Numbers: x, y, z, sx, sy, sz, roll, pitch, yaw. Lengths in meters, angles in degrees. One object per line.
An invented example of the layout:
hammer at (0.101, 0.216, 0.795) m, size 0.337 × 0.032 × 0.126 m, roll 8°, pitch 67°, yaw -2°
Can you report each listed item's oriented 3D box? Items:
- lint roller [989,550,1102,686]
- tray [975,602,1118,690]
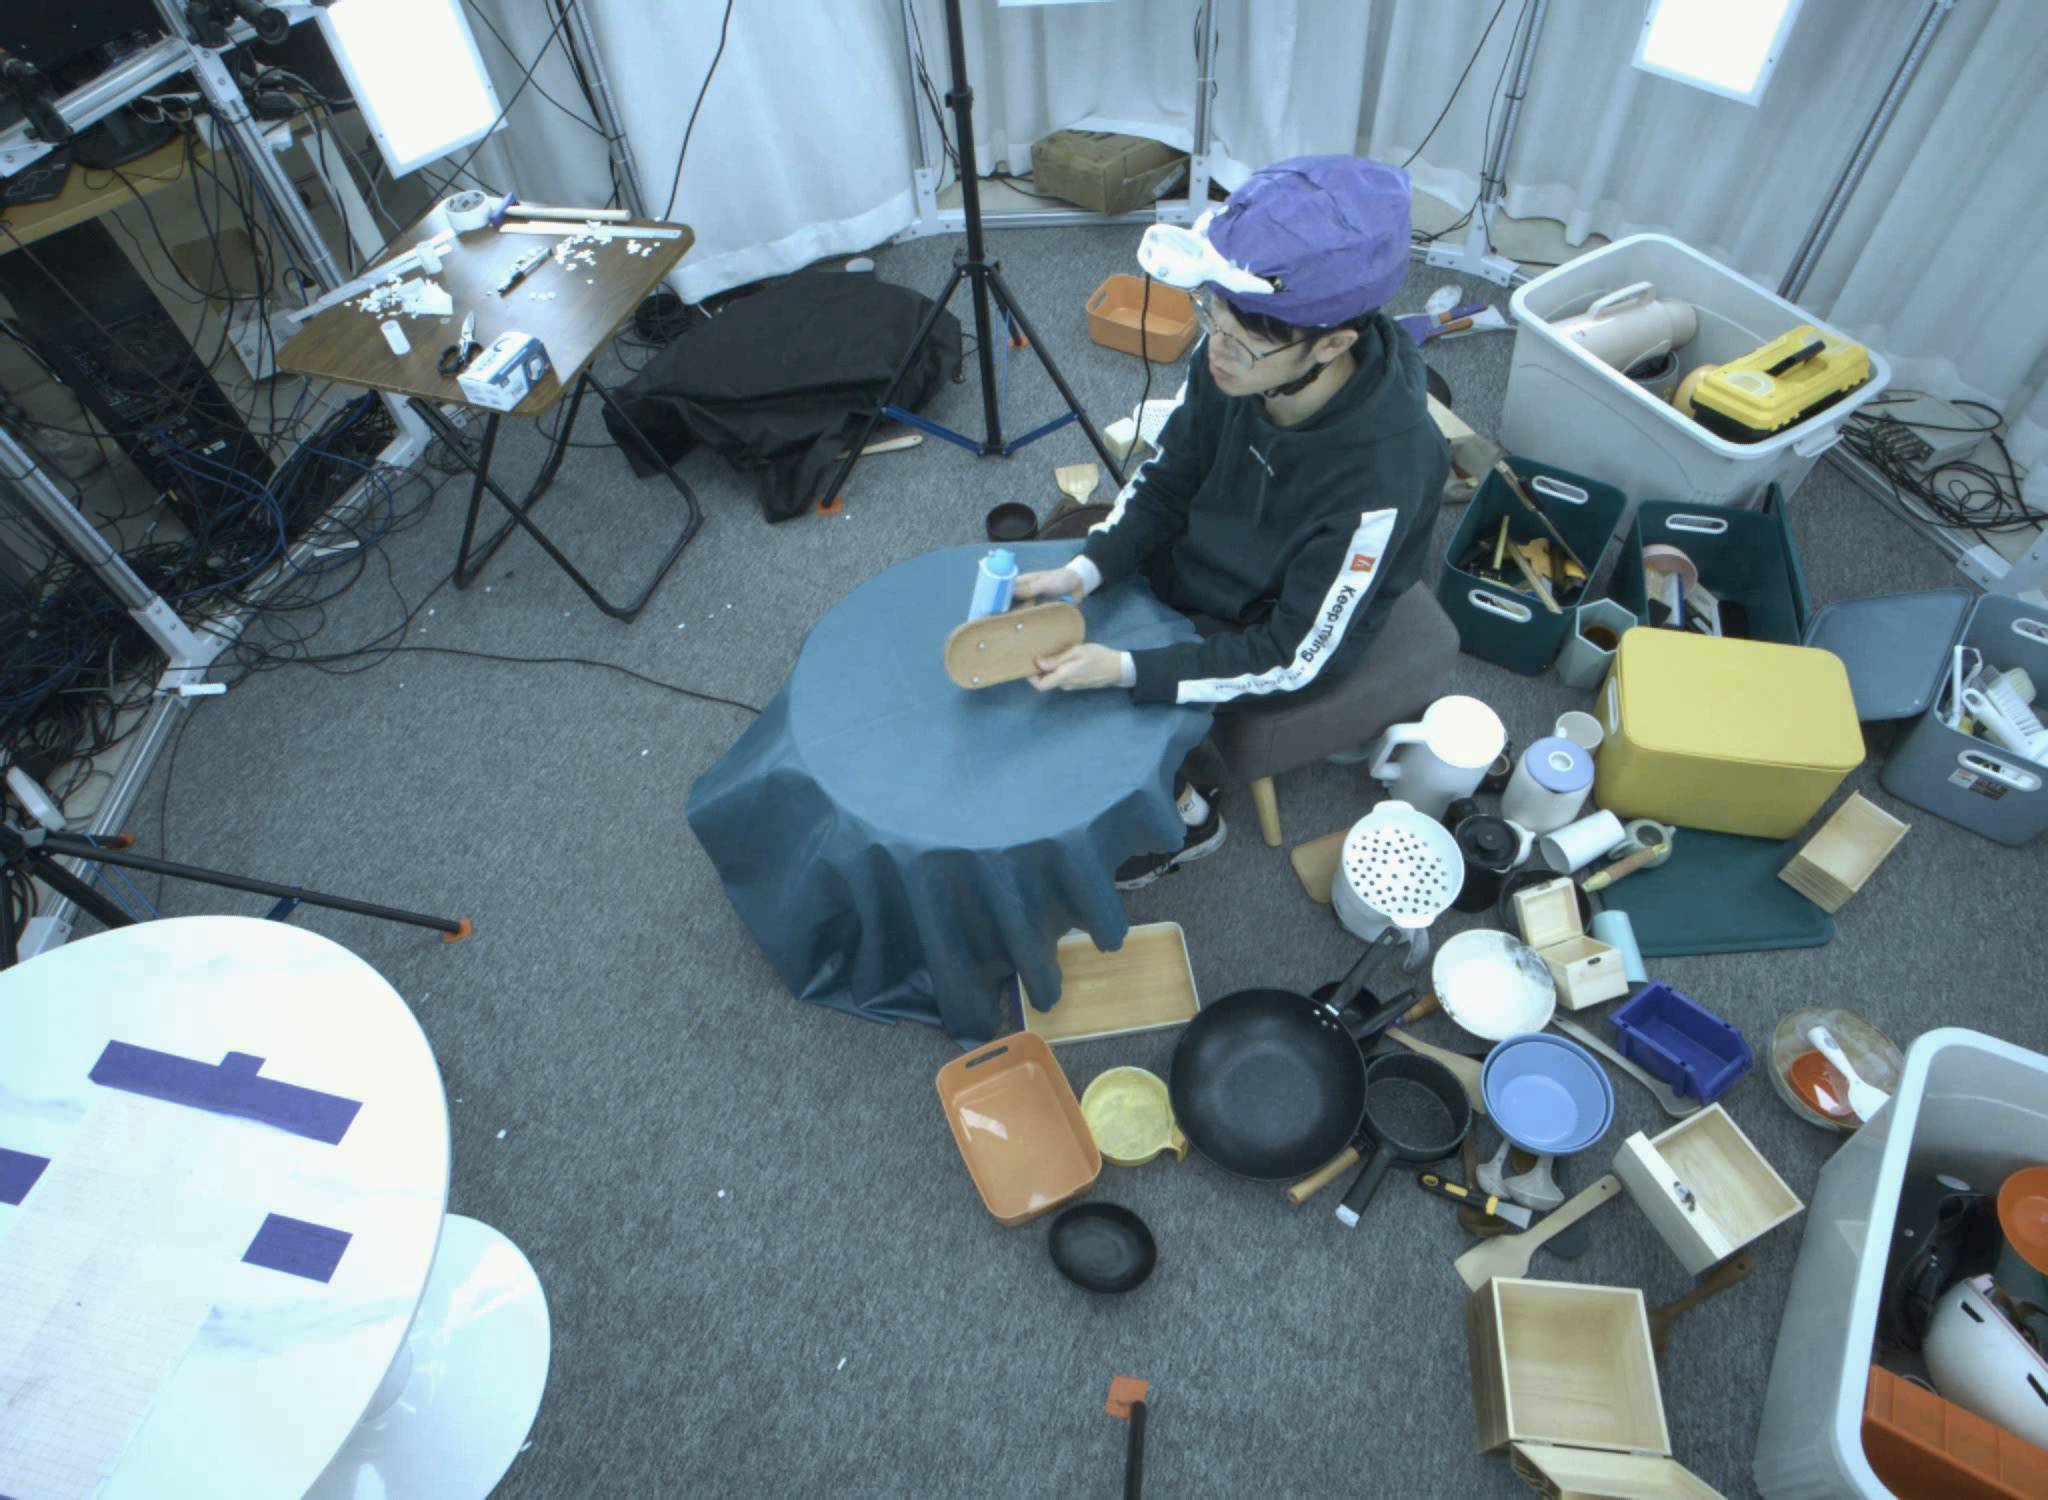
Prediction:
lint roller at (0.029, -0.198, 1.787) m, size 0.183 × 0.229 × 0.066 m, roll -21°, pitch 53°, yaw -38°
tray at (0.033, -0.149, 1.743) m, size 0.234 × 0.102 × 0.020 m, roll -16°, pitch 31°, yaw -28°
